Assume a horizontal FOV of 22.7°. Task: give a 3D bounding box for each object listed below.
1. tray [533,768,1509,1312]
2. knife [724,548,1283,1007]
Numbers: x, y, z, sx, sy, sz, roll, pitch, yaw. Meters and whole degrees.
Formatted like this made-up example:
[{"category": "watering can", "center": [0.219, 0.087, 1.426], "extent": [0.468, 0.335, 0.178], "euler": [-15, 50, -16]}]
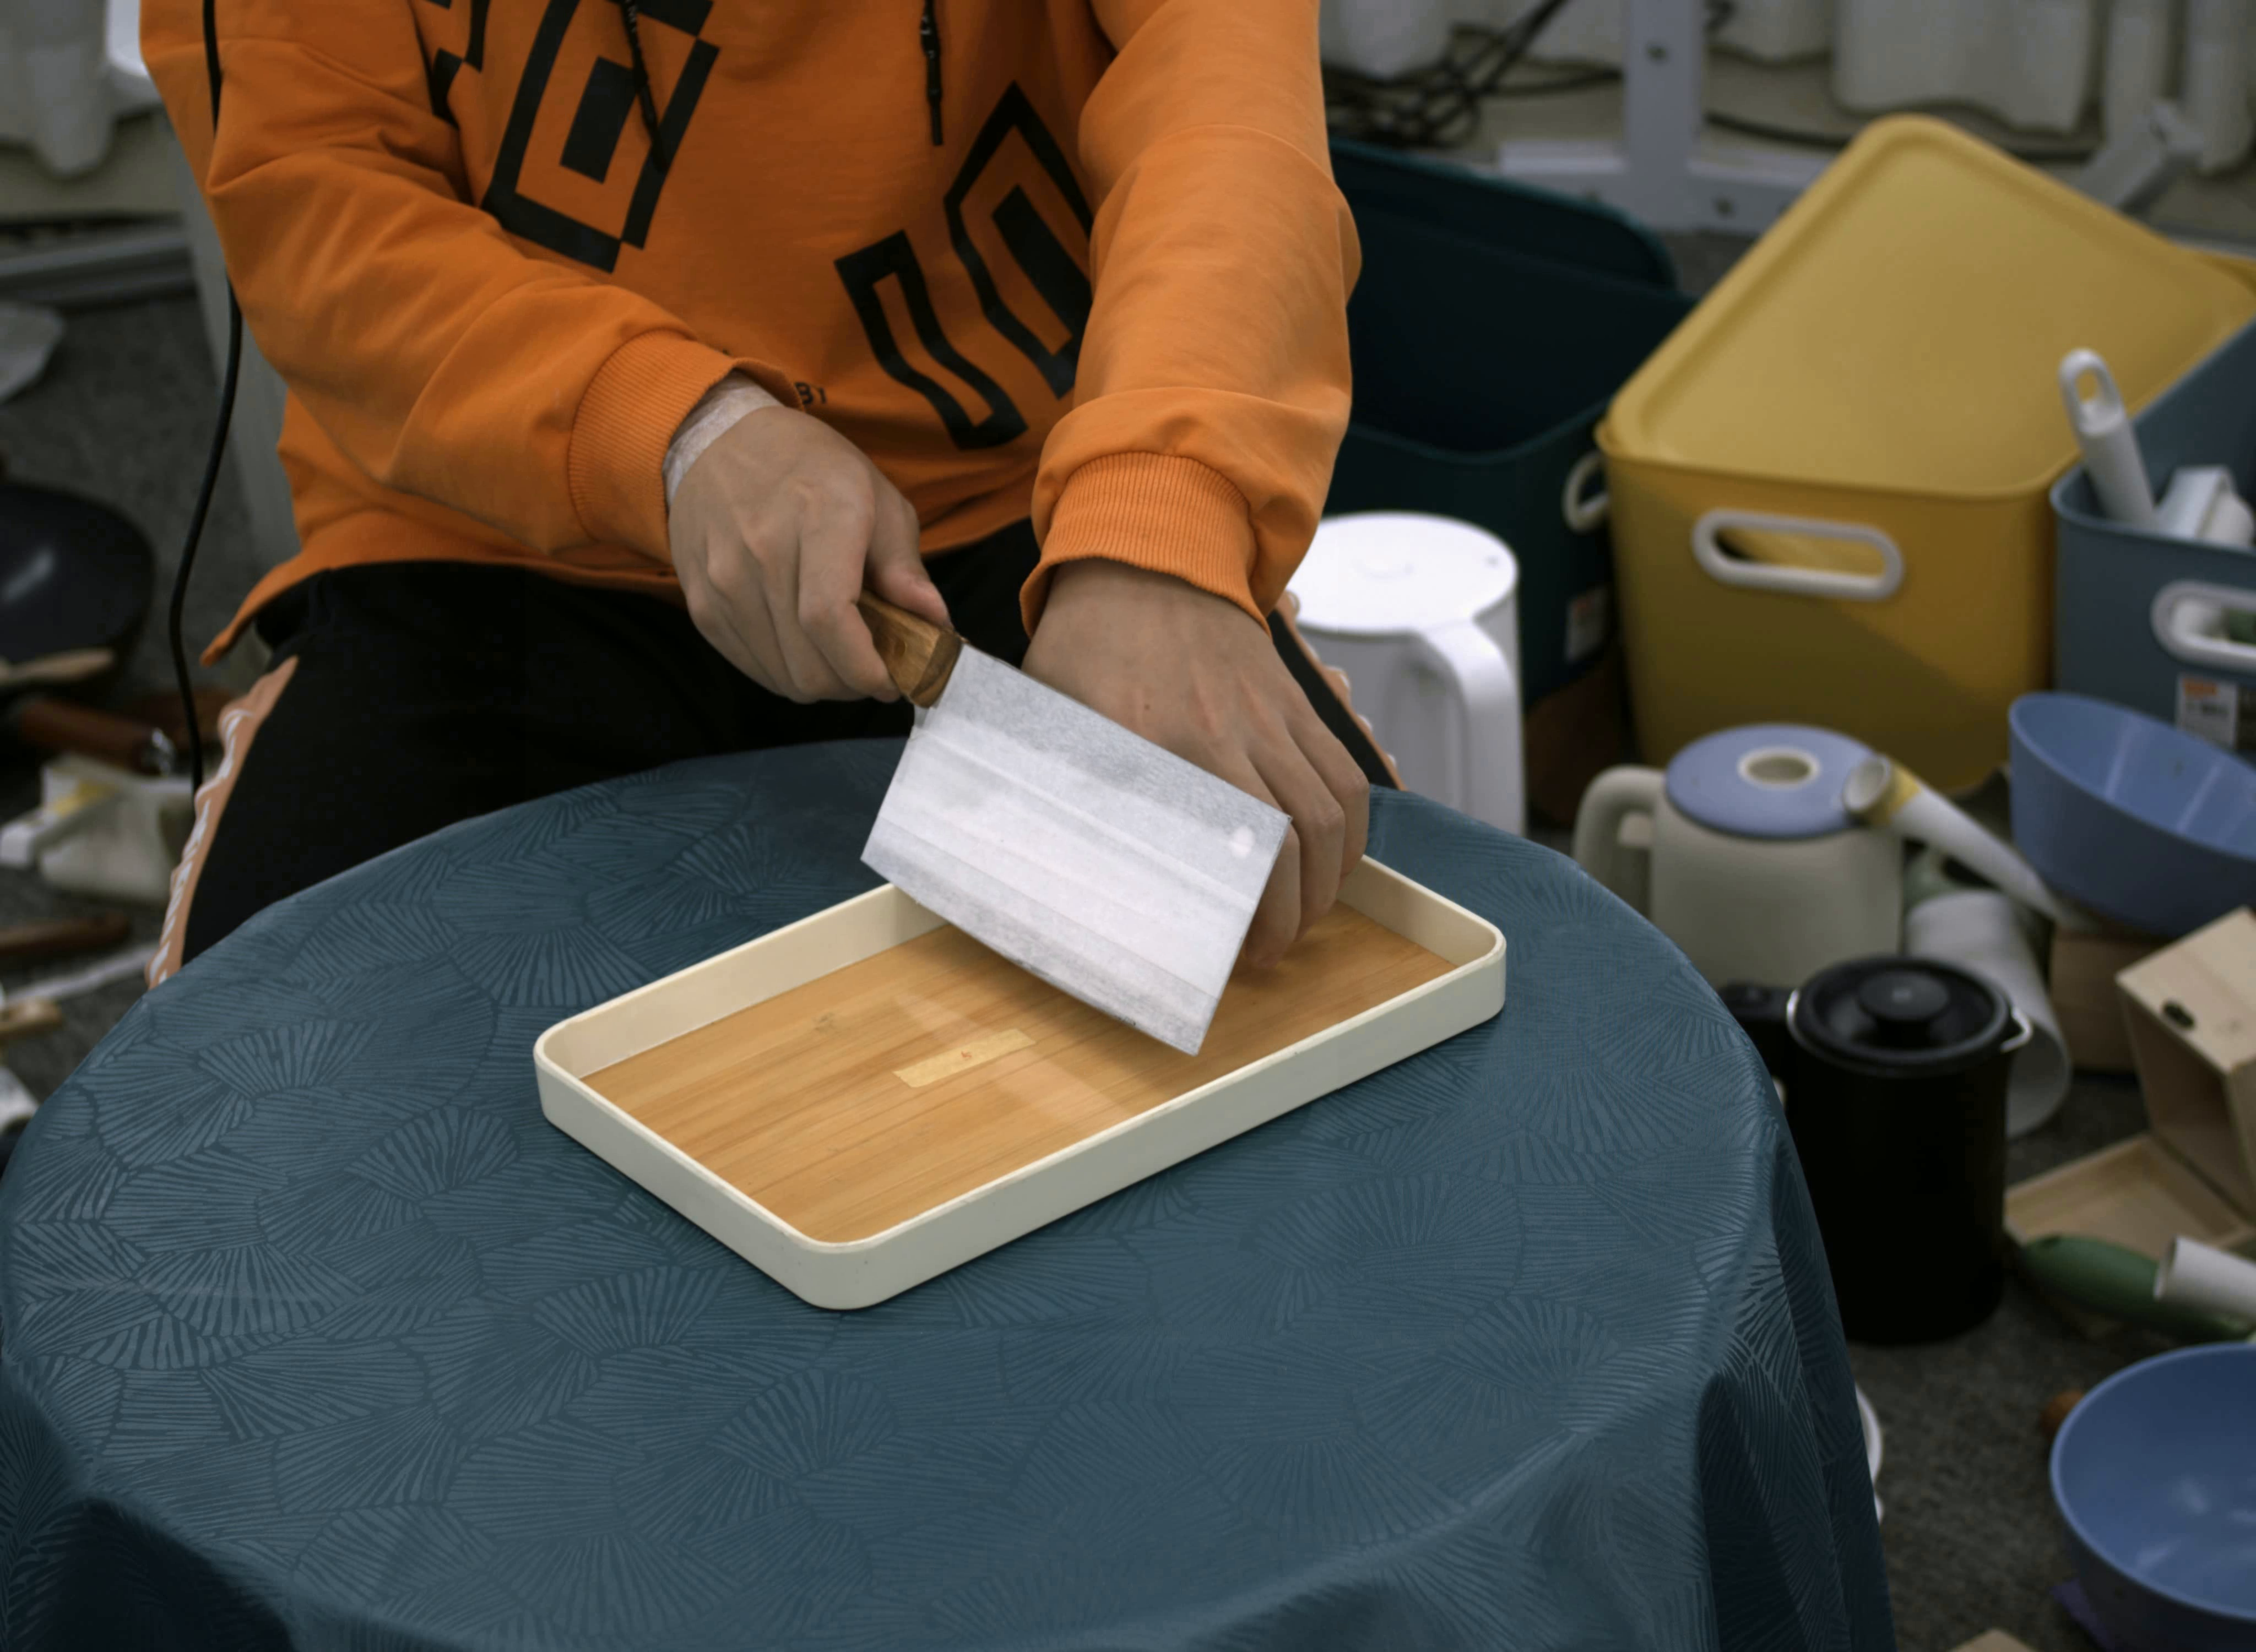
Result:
[{"category": "tray", "center": [-0.035, 0.068, 1.937], "extent": [0.303, 0.027, 0.192], "euler": [-23, 34, -32]}, {"category": "knife", "center": [-0.056, -0.016, 1.990], "extent": [0.021, 0.093, 0.306], "euler": [15, 9, -45]}]
